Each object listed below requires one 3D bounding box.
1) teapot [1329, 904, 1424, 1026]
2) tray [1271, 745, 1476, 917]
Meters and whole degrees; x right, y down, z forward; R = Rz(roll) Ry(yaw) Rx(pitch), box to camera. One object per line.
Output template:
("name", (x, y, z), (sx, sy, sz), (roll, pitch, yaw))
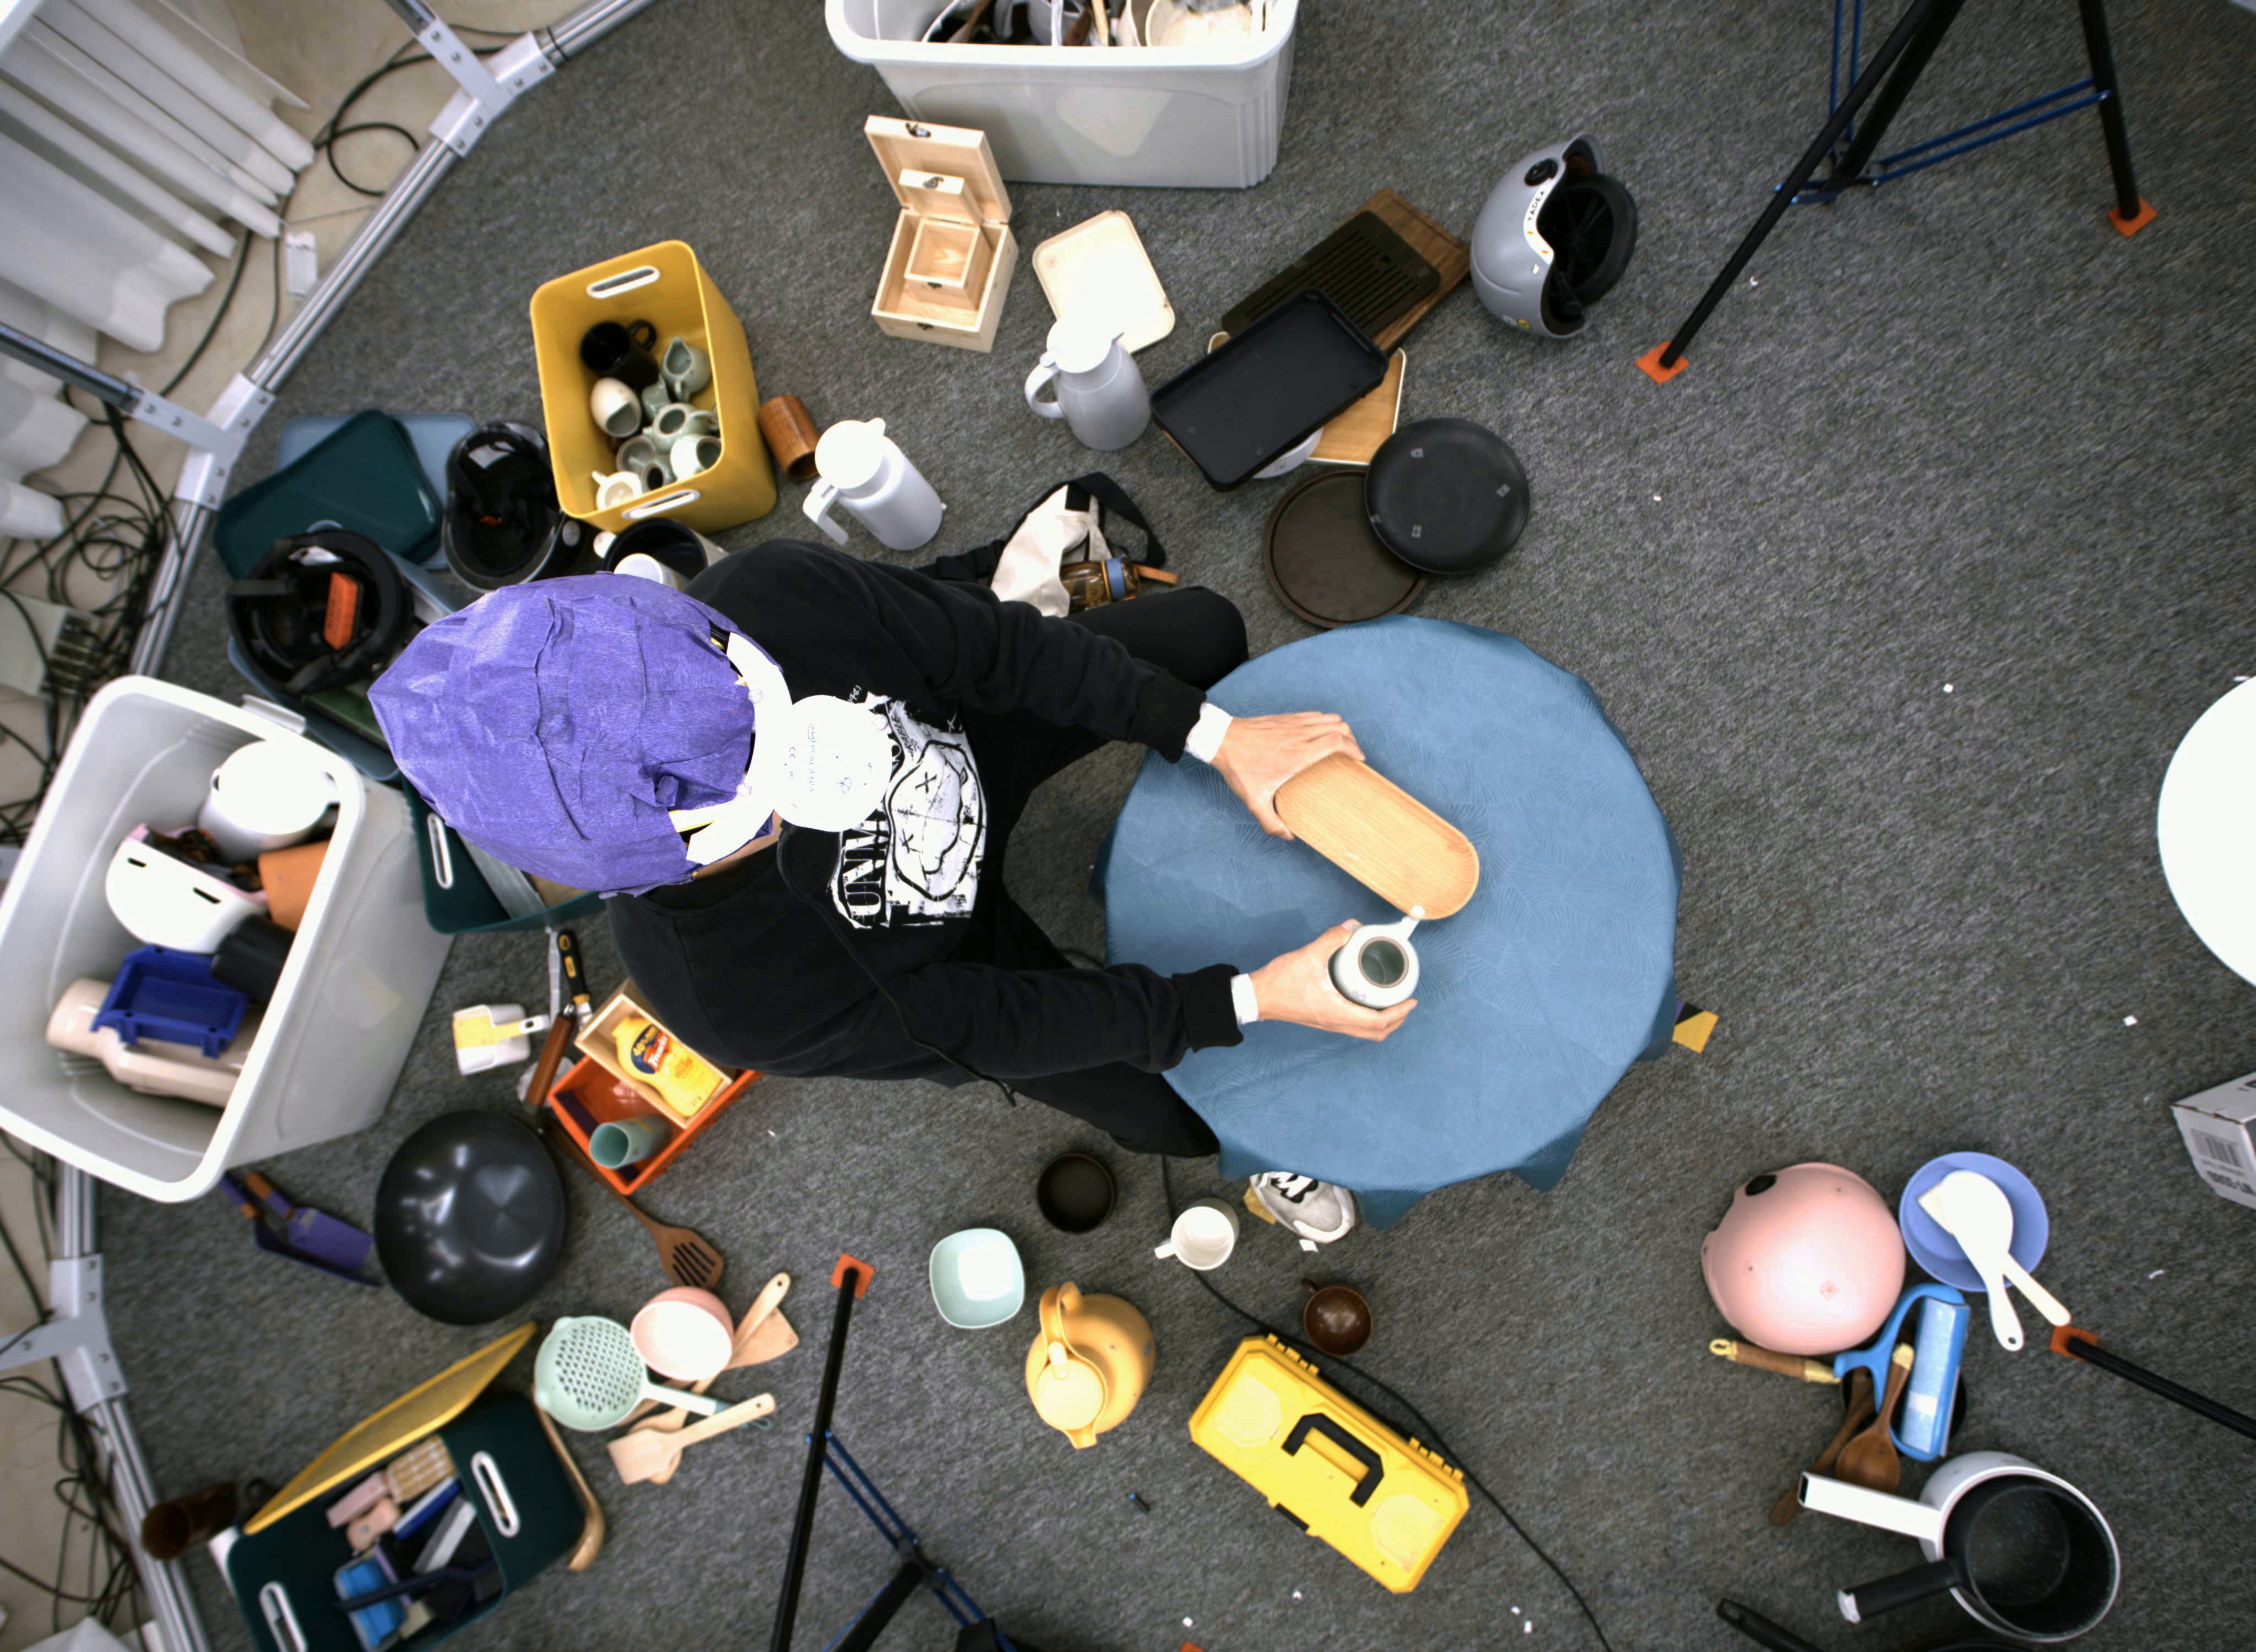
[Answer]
("teapot", (0.244, 0.140, 1.373), (0.088, 0.076, 0.142), (38, 72, 7))
("tray", (0.252, 0.004, 1.417), (0.231, 0.020, 0.102), (35, 95, 7))
